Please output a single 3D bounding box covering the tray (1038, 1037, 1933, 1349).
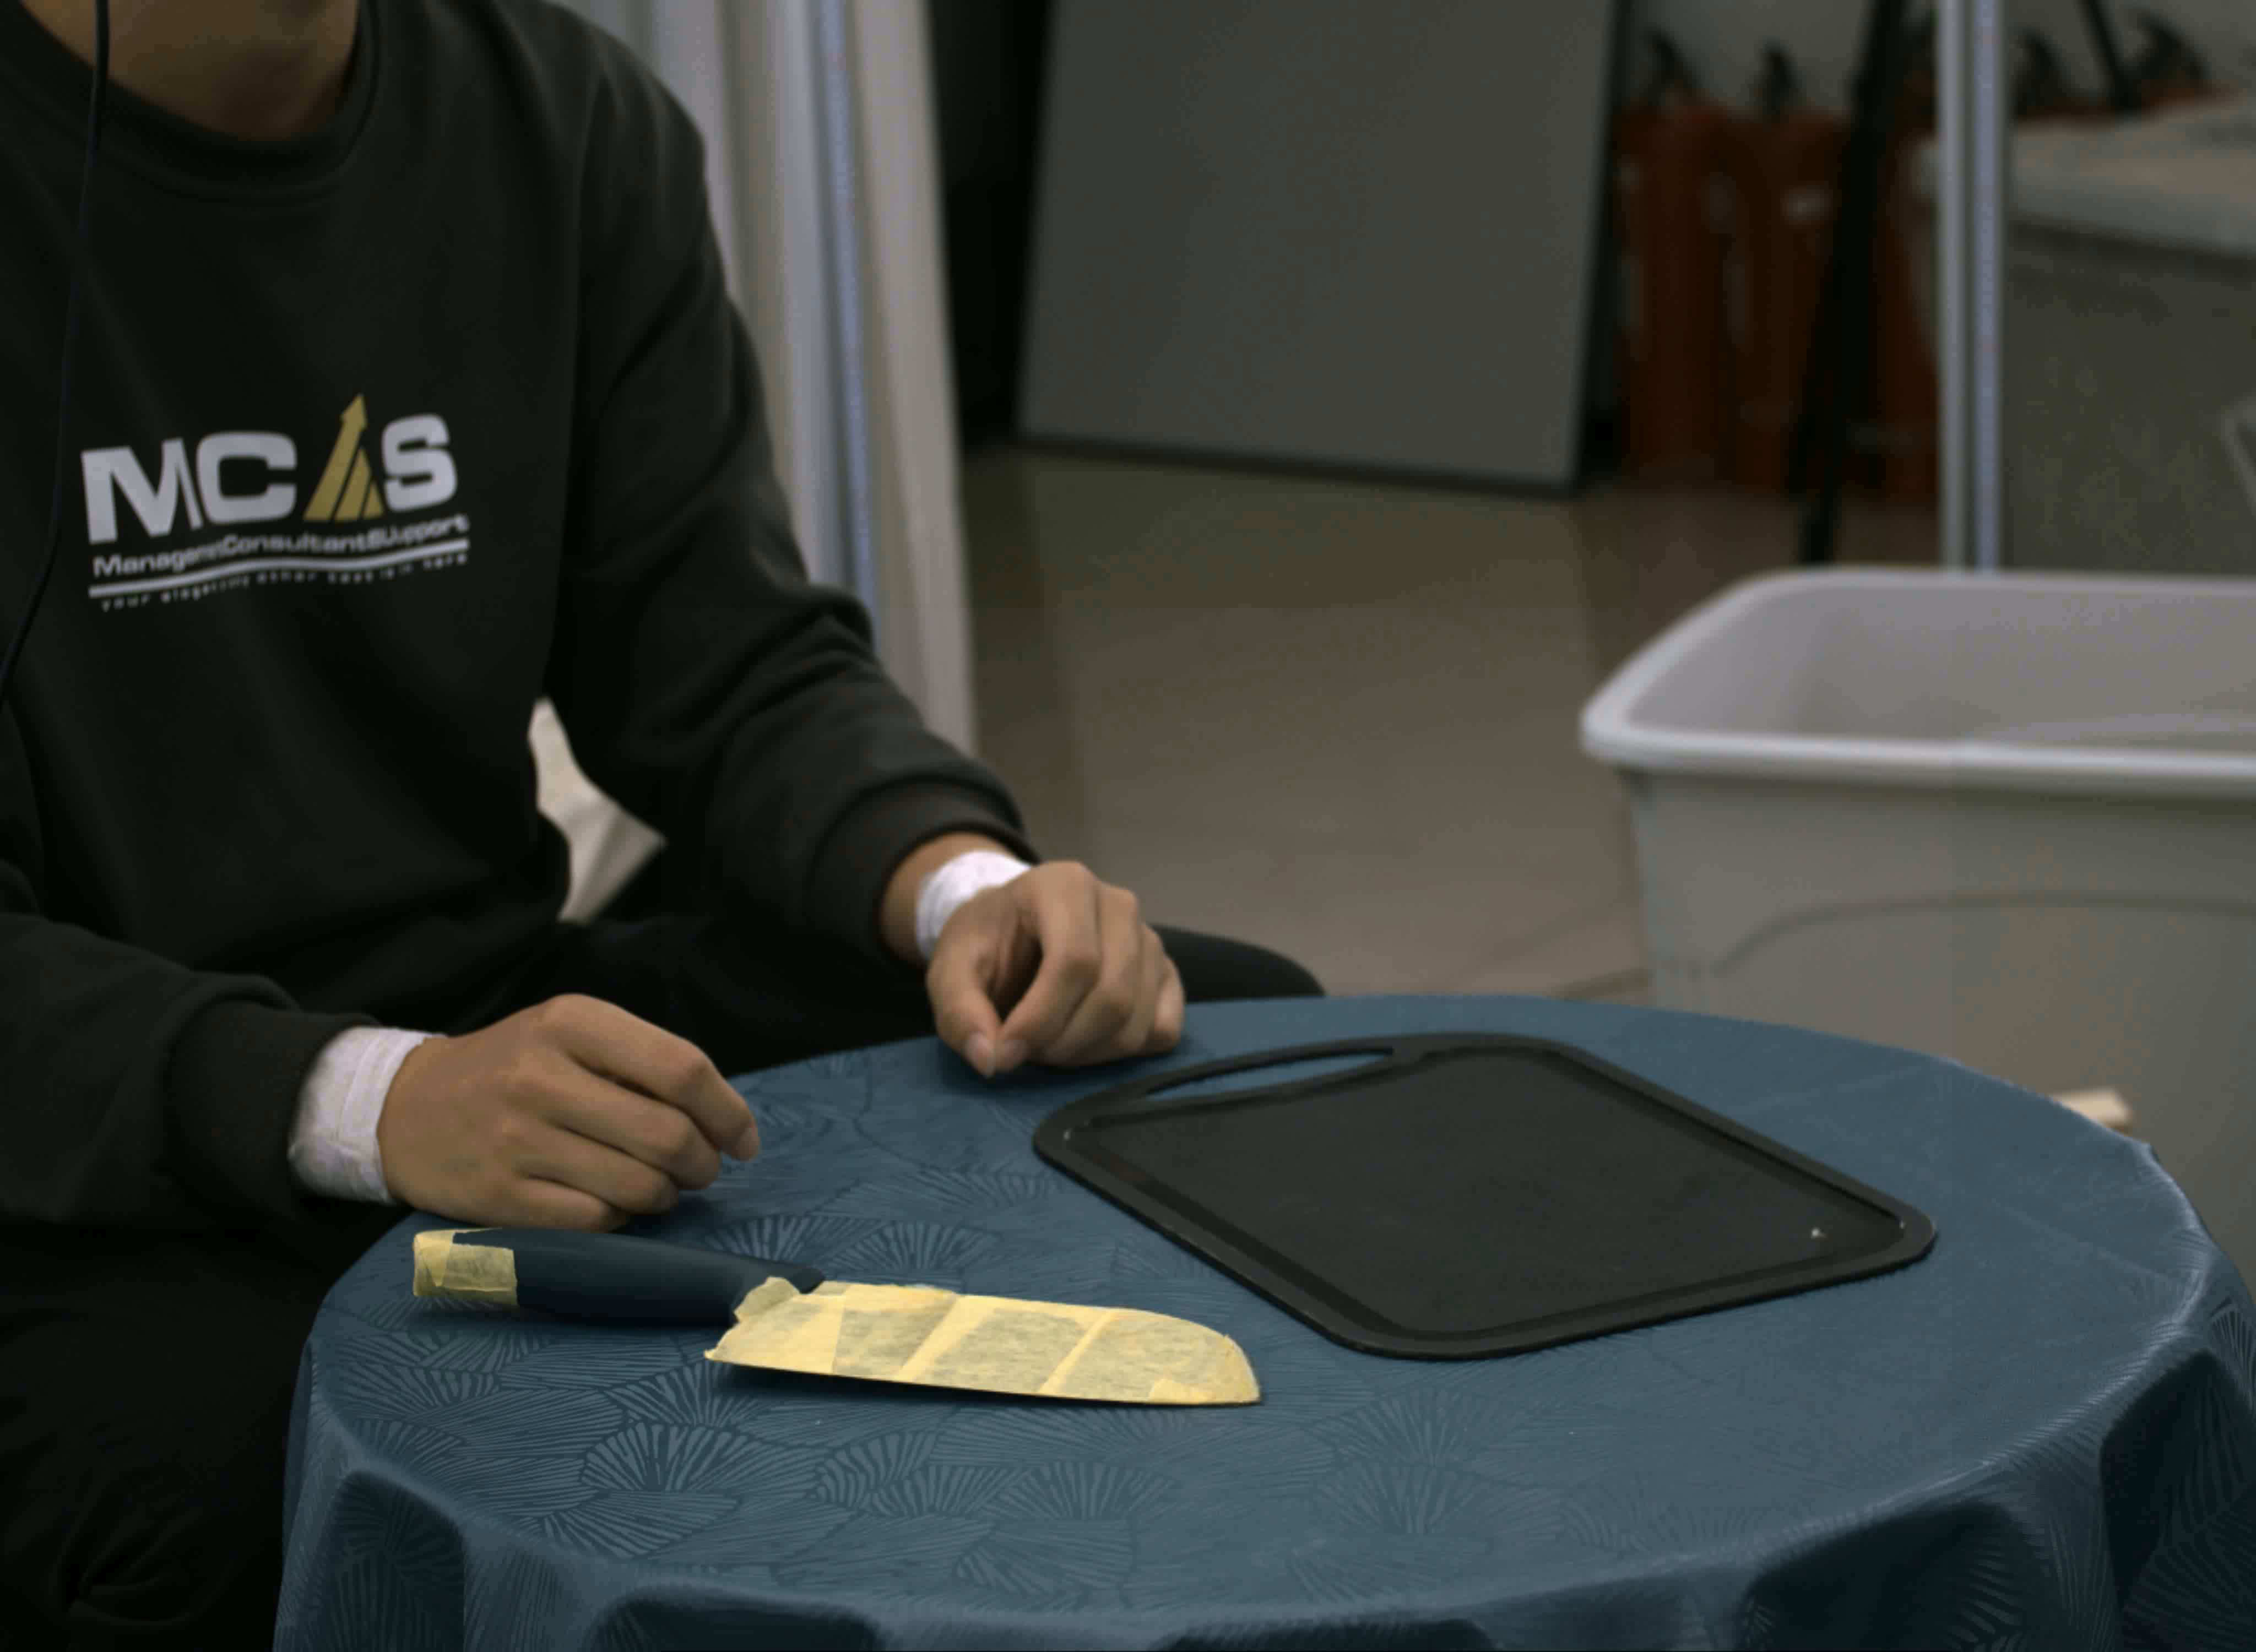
[{"bbox_3d":[0.106,0.113,1.761,0.206,0.010,0.328,-10,14,-22],"label":"tray"}]

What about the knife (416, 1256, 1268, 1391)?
[{"bbox_3d":[-0.093,0.154,1.637,0.289,0.027,0.080,2,13,22],"label":"knife"}]
